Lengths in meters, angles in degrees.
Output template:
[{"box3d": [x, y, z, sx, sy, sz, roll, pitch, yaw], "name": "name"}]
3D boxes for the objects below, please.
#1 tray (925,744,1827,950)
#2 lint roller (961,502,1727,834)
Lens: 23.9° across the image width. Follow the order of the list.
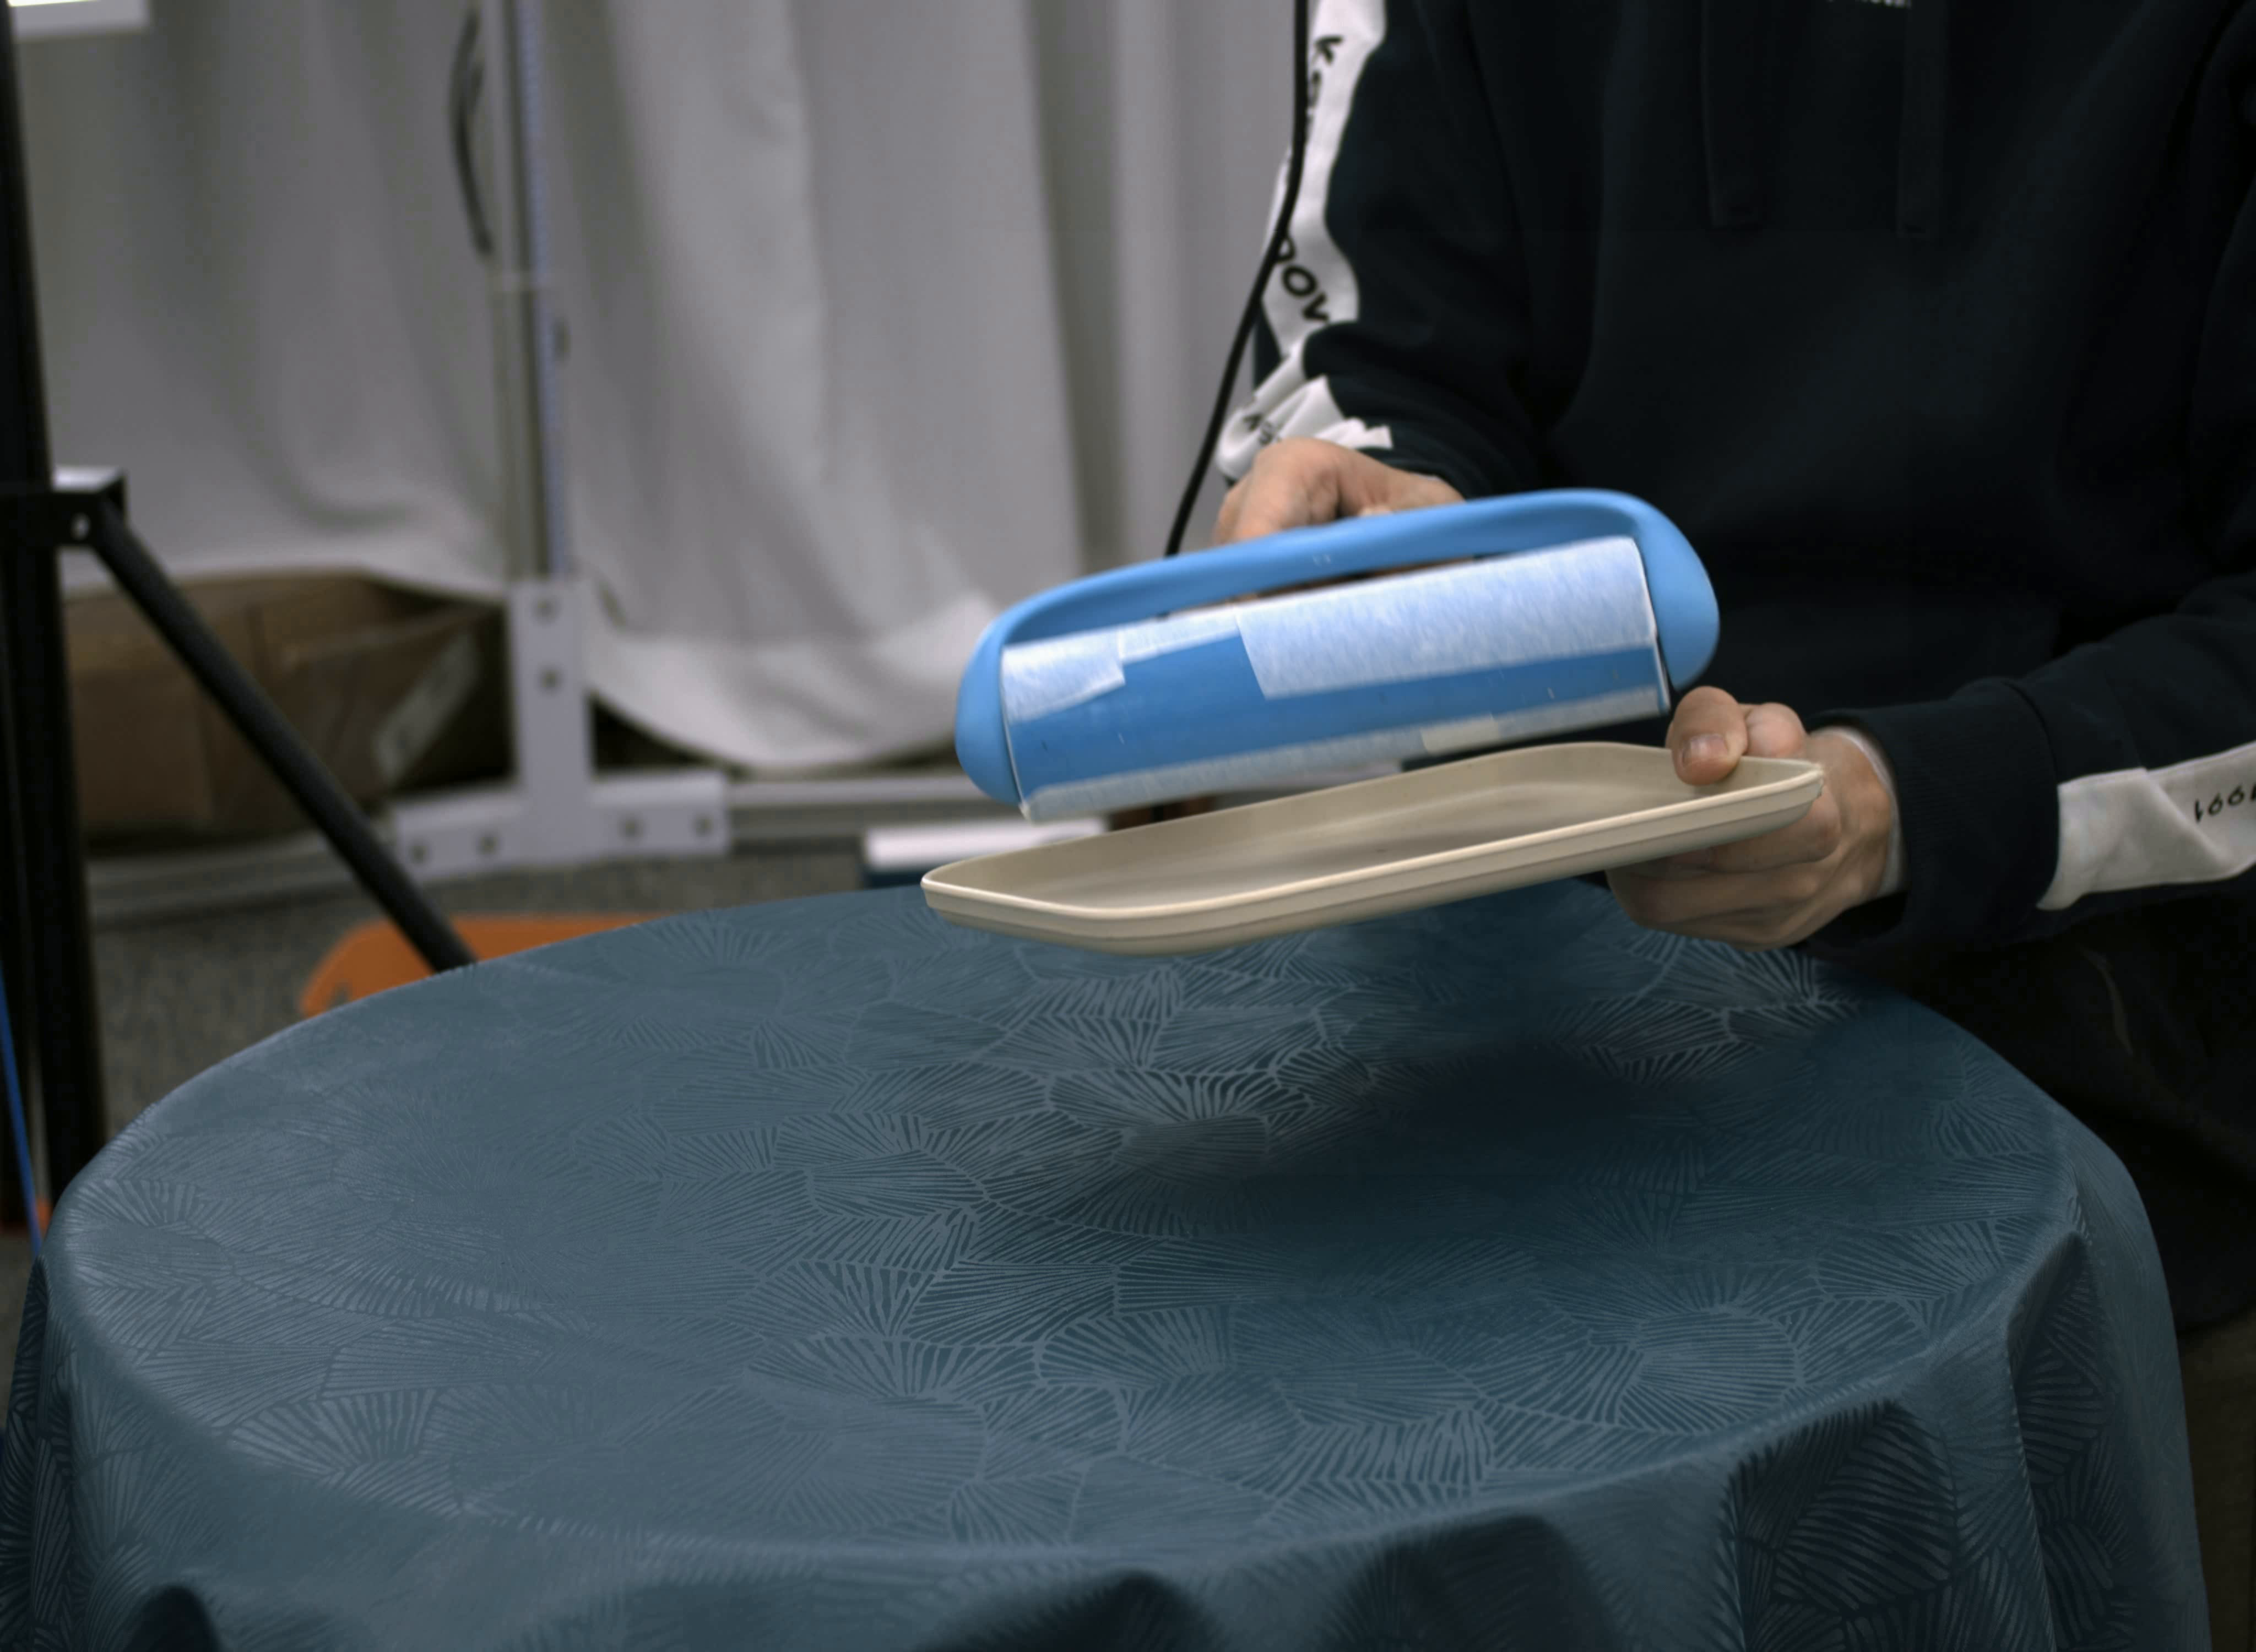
[{"box3d": [0.073, 0.006, 1.560, 0.235, 0.017, 0.174, -11, 7, -23], "name": "tray"}, {"box3d": [0.063, -0.057, 1.623, 0.229, 0.068, 0.181, -12, 15, 6], "name": "lint roller"}]
